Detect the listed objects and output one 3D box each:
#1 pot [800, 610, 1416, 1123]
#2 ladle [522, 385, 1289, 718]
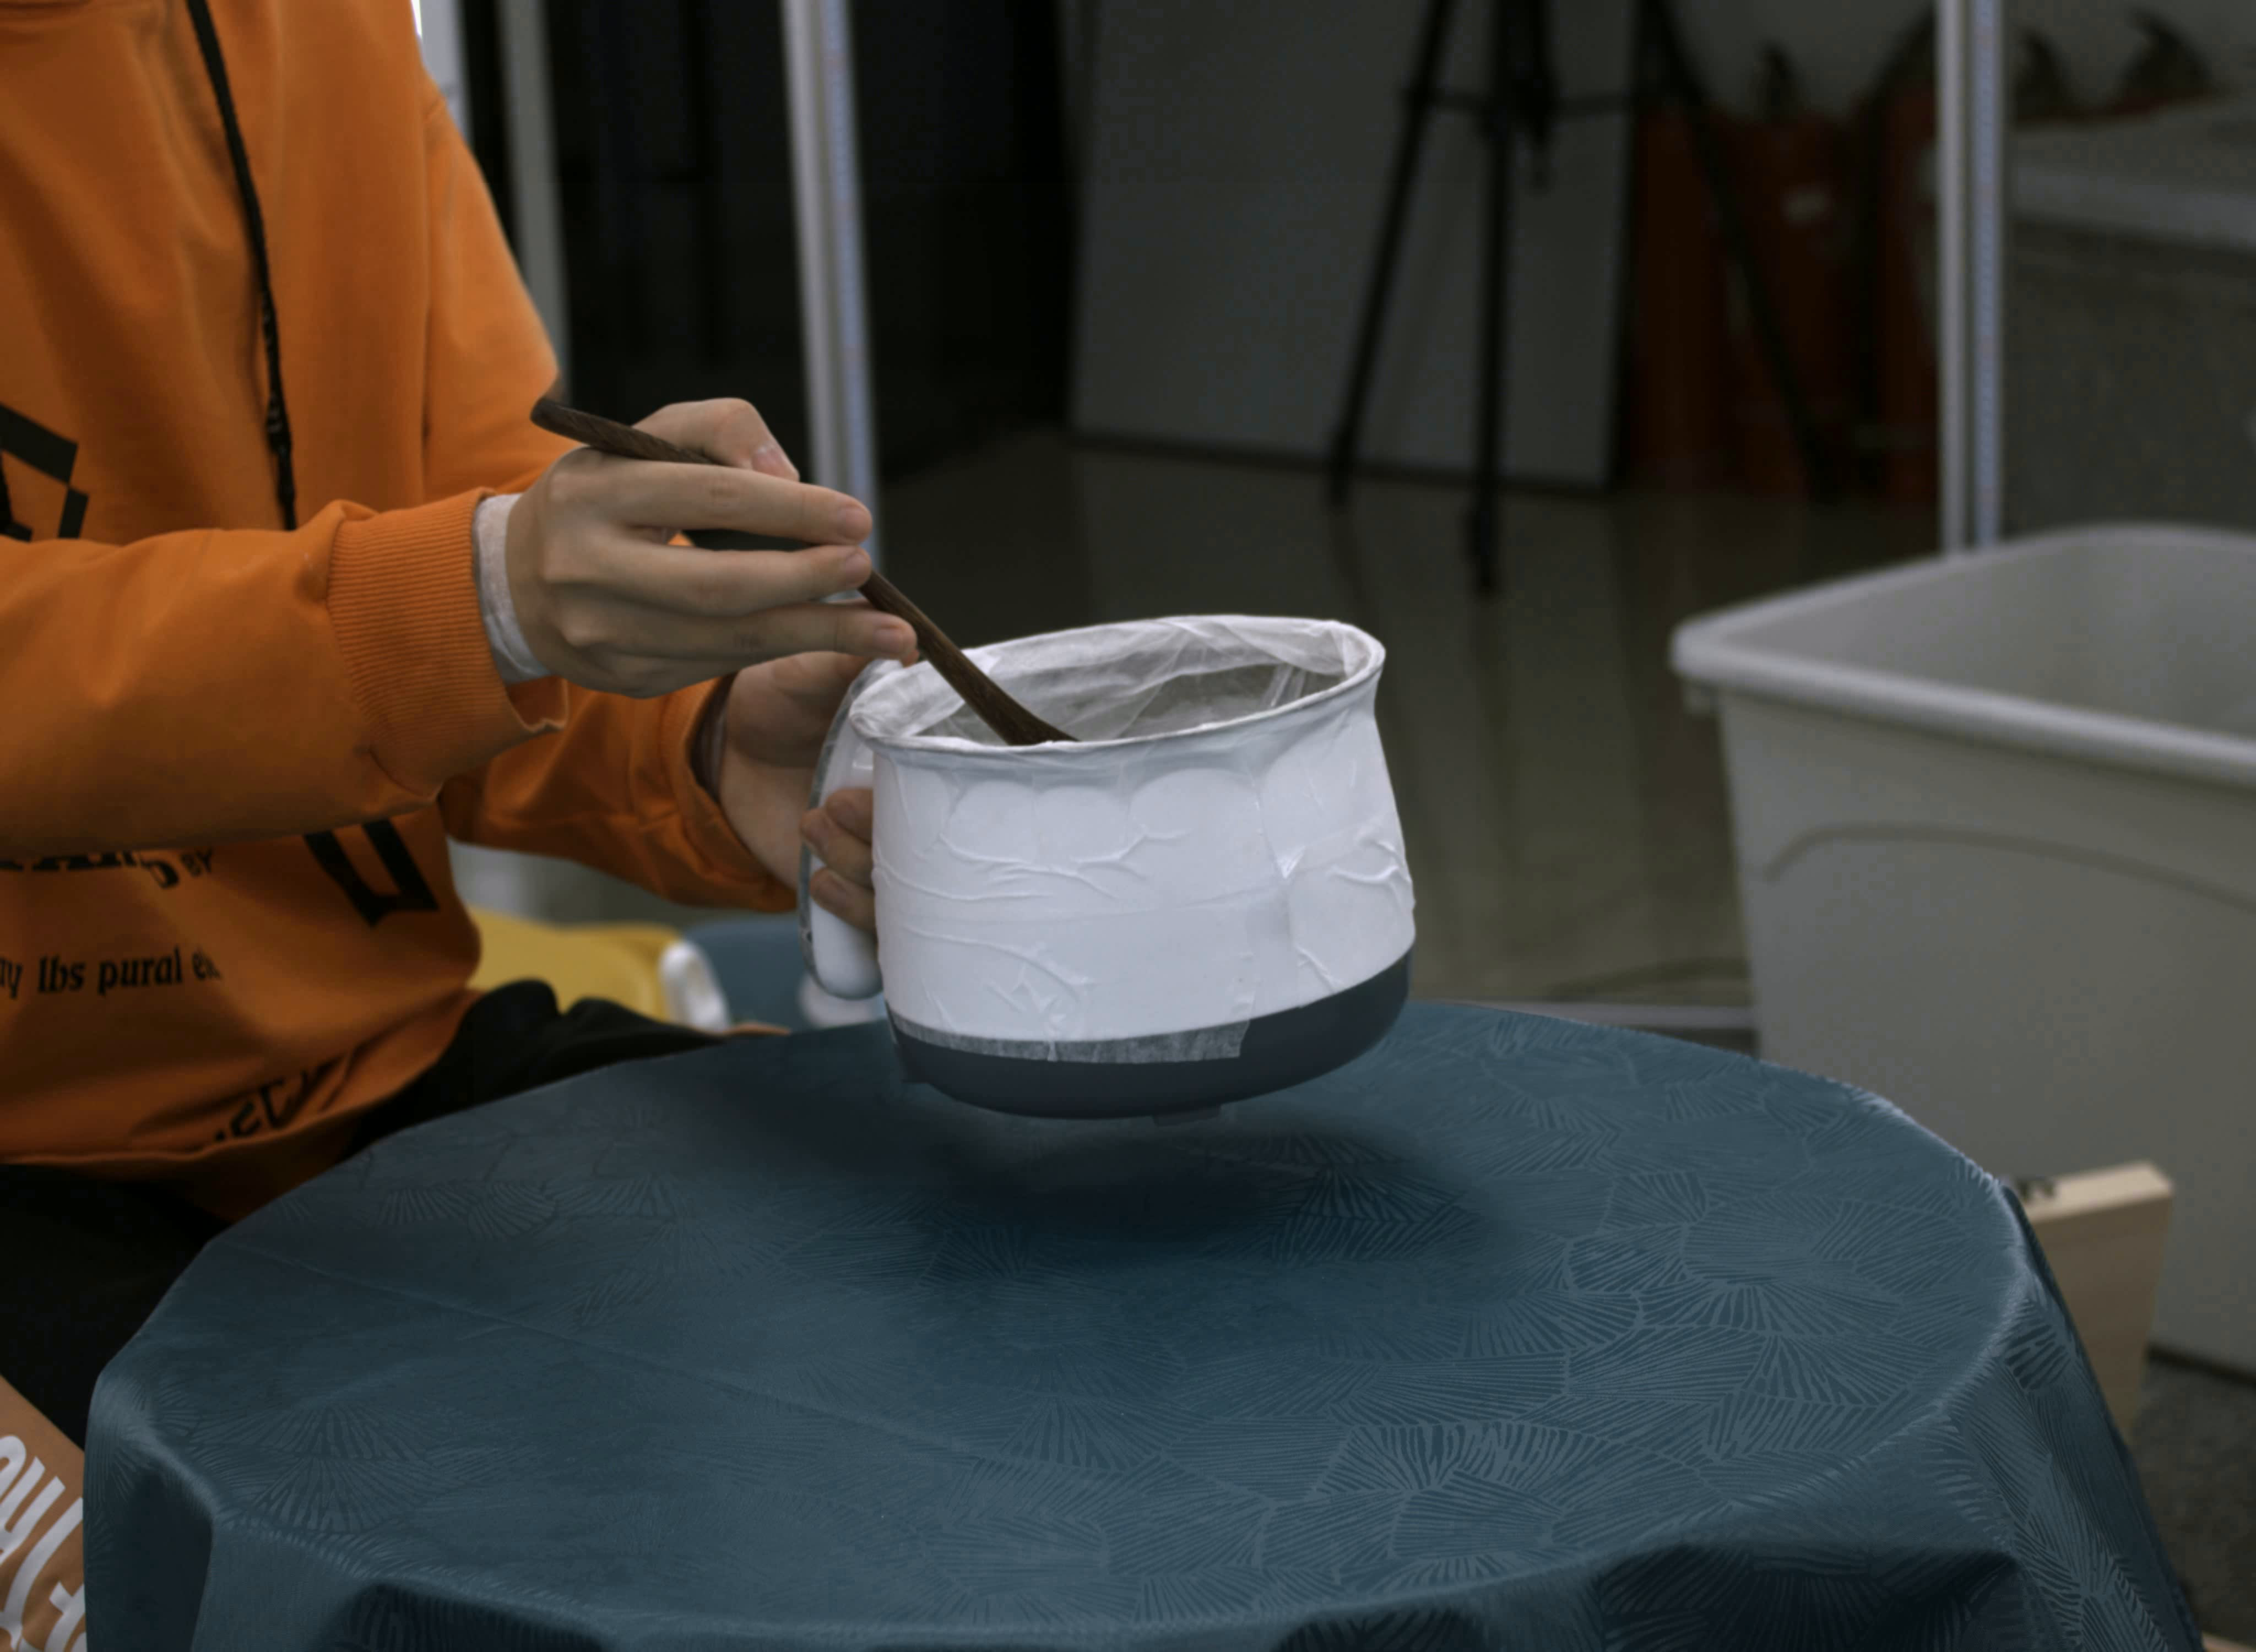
[{"bbox_3d":[-0.018,0.011,1.777,0.235,0.138,0.175,2,15,38],"label":"pot"},{"bbox_3d":[-0.063,-0.086,1.729,0.271,0.071,0.076,36,-11,-12],"label":"ladle"}]
